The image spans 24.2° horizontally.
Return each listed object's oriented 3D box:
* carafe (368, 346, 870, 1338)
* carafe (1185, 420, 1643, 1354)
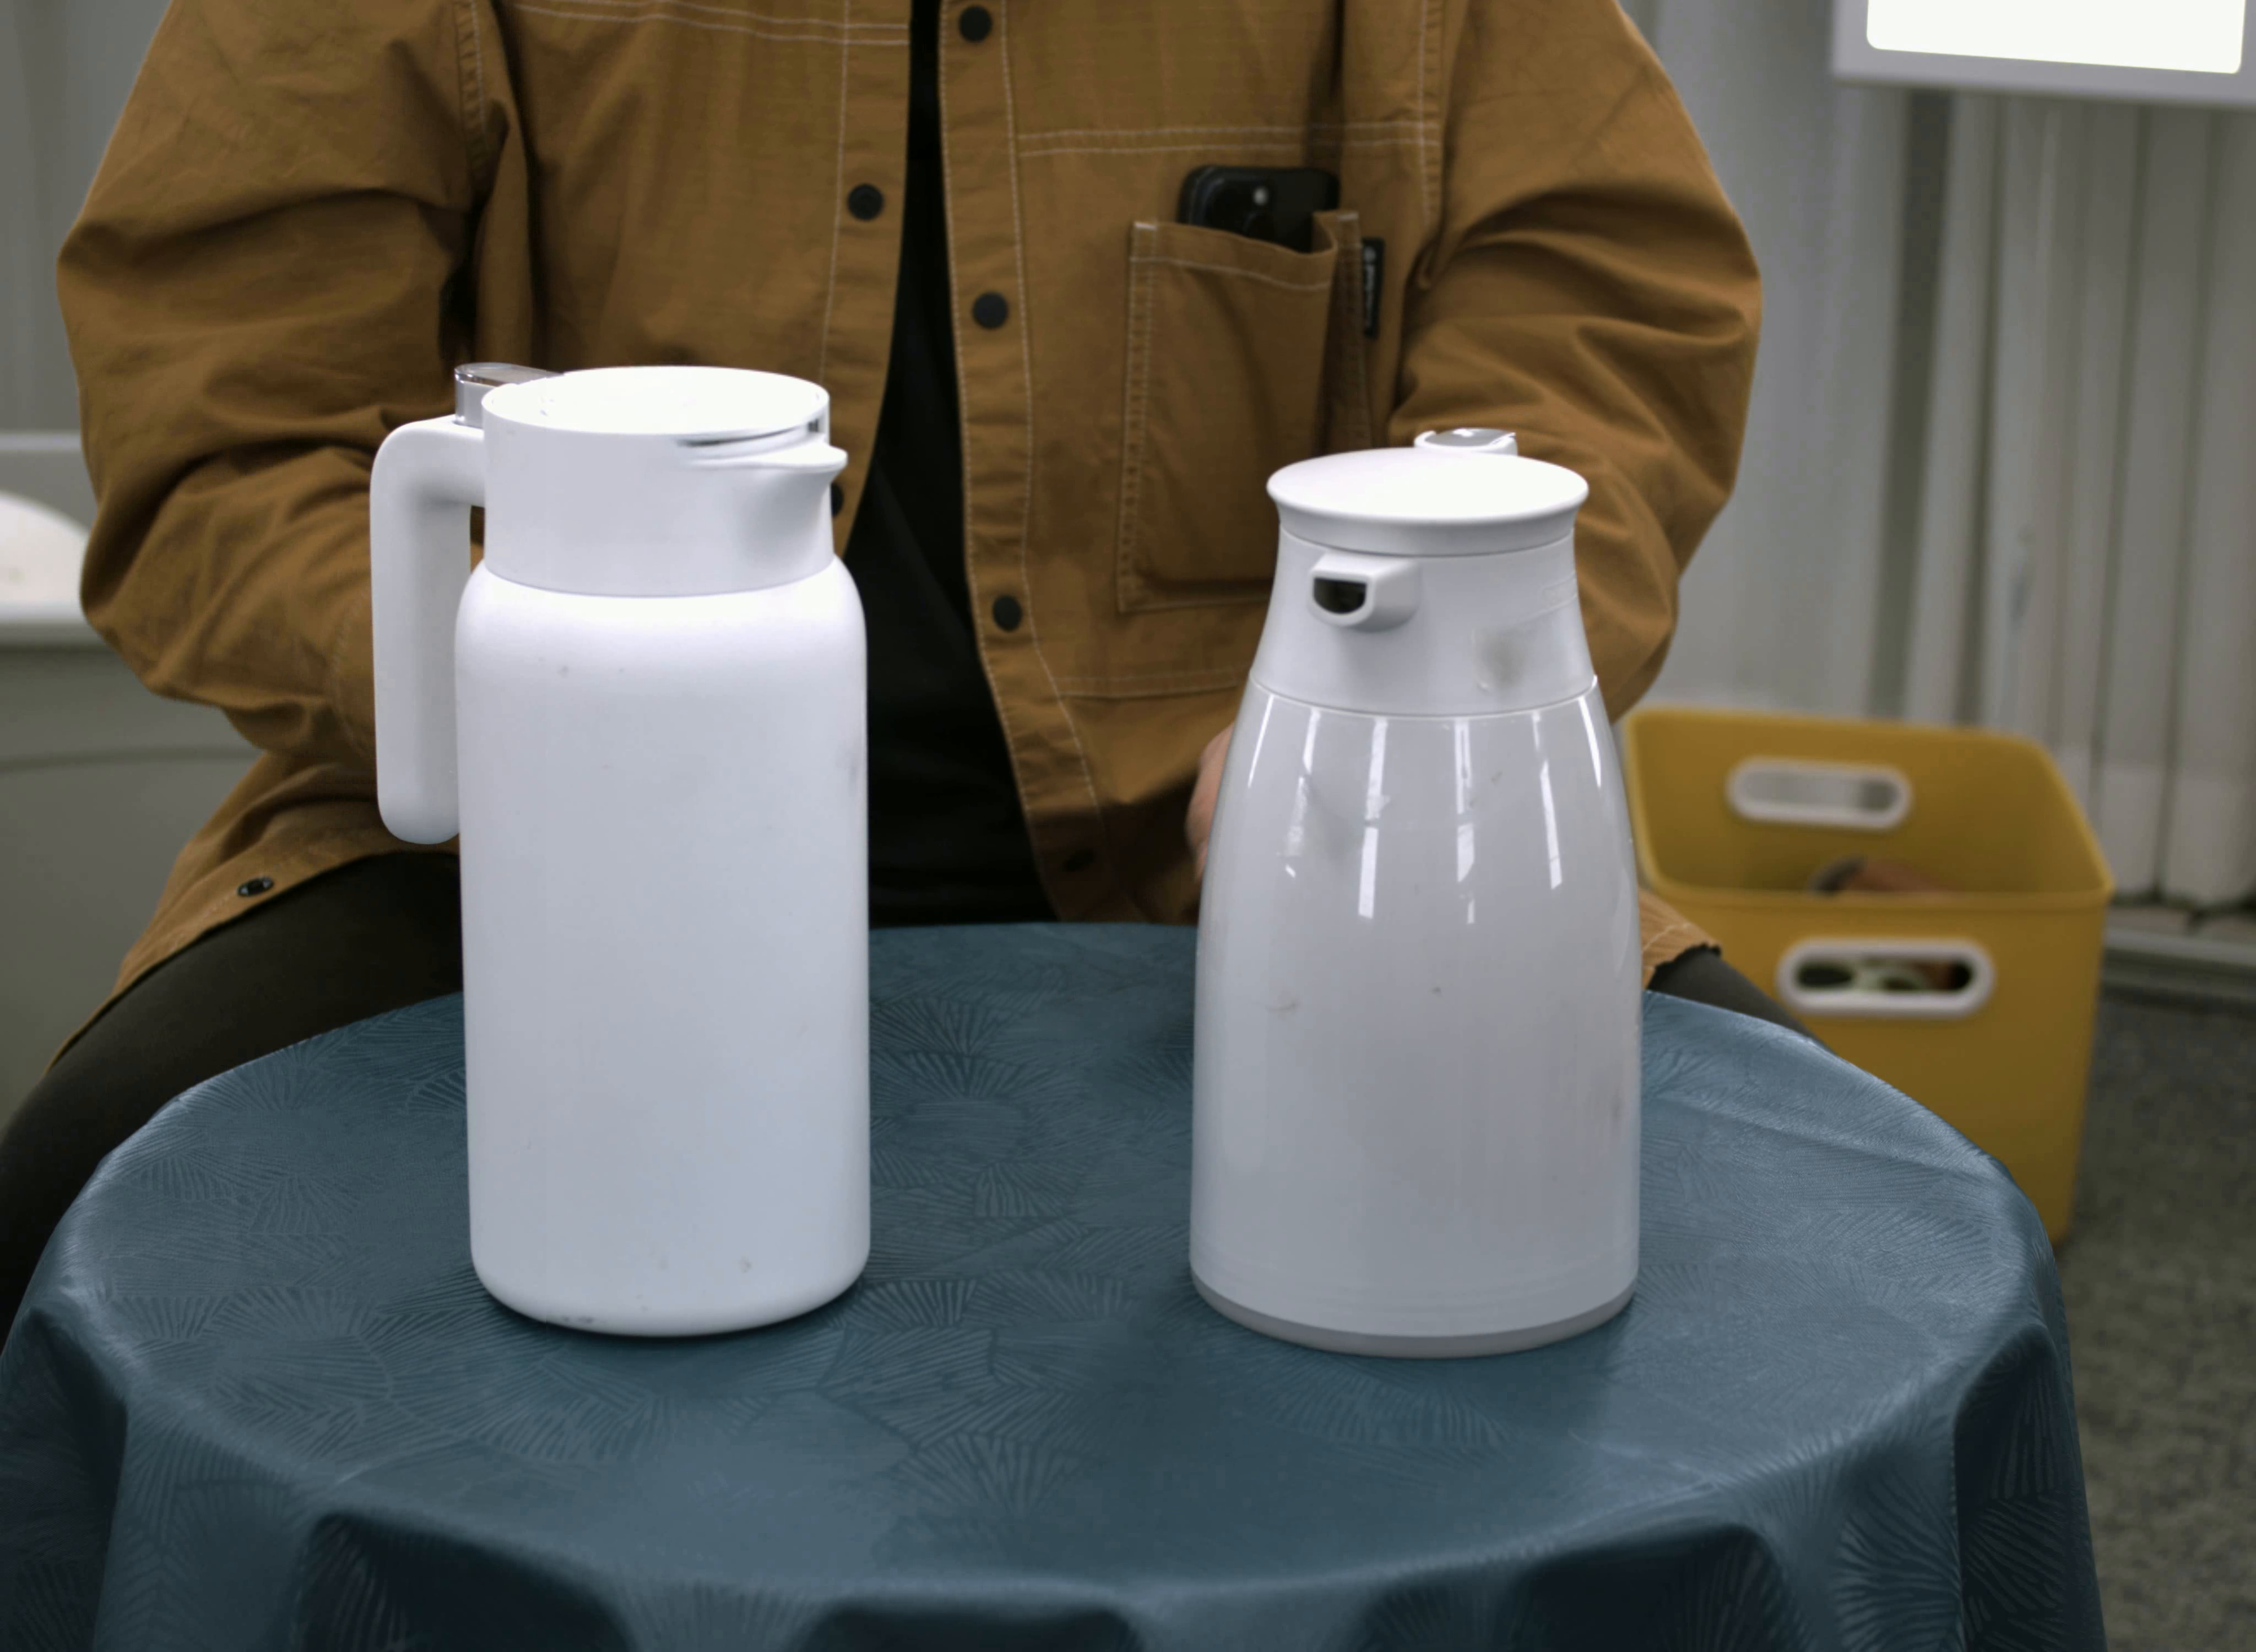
[{"bbox_3d":[-0.148,0.002,1.515,0.170,0.271,0.124,12,22,35],"label":"carafe"},{"bbox_3d":[0.091,0.009,1.532,0.131,0.250,0.168,7,17,23],"label":"carafe"}]
